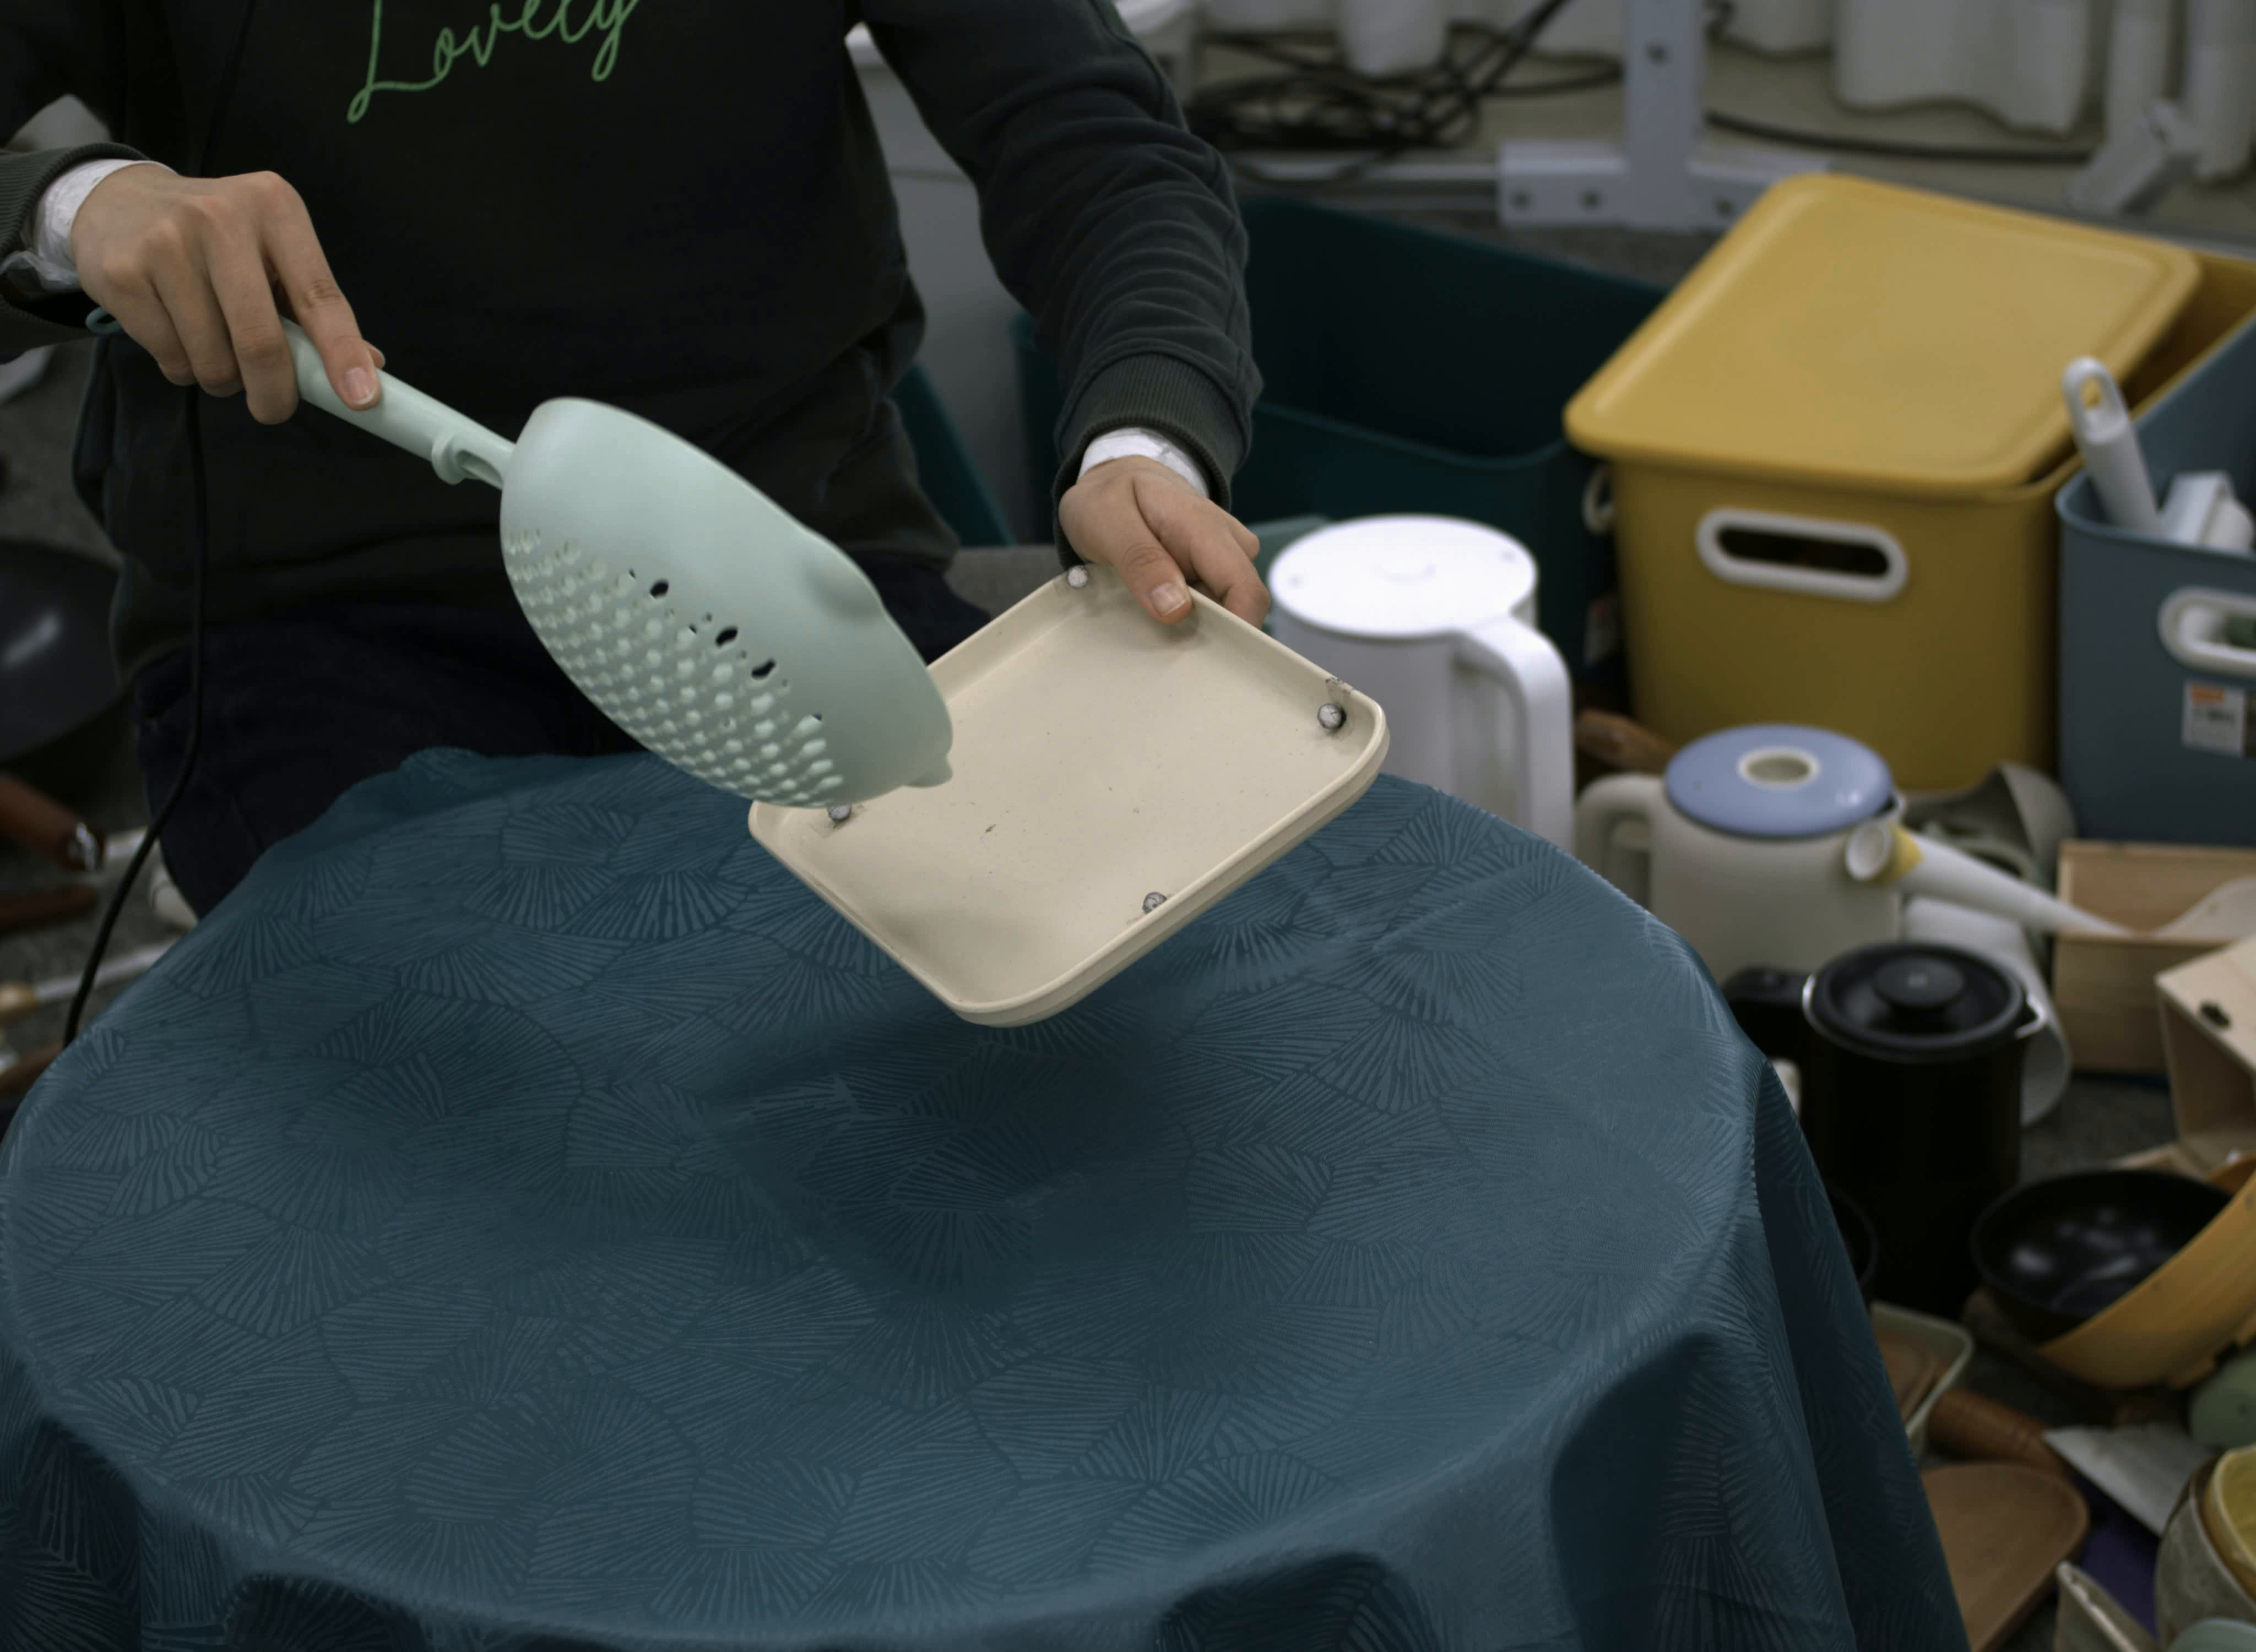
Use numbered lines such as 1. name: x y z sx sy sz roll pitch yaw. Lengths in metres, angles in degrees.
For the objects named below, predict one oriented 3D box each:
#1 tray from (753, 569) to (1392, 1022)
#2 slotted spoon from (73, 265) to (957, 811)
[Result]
1. tray: -0.020 -0.012 1.865 0.172 0.017 0.240 -35 27 -12
2. slotted spoon: -0.206 -0.110 1.833 0.360 0.167 0.076 38 73 28
